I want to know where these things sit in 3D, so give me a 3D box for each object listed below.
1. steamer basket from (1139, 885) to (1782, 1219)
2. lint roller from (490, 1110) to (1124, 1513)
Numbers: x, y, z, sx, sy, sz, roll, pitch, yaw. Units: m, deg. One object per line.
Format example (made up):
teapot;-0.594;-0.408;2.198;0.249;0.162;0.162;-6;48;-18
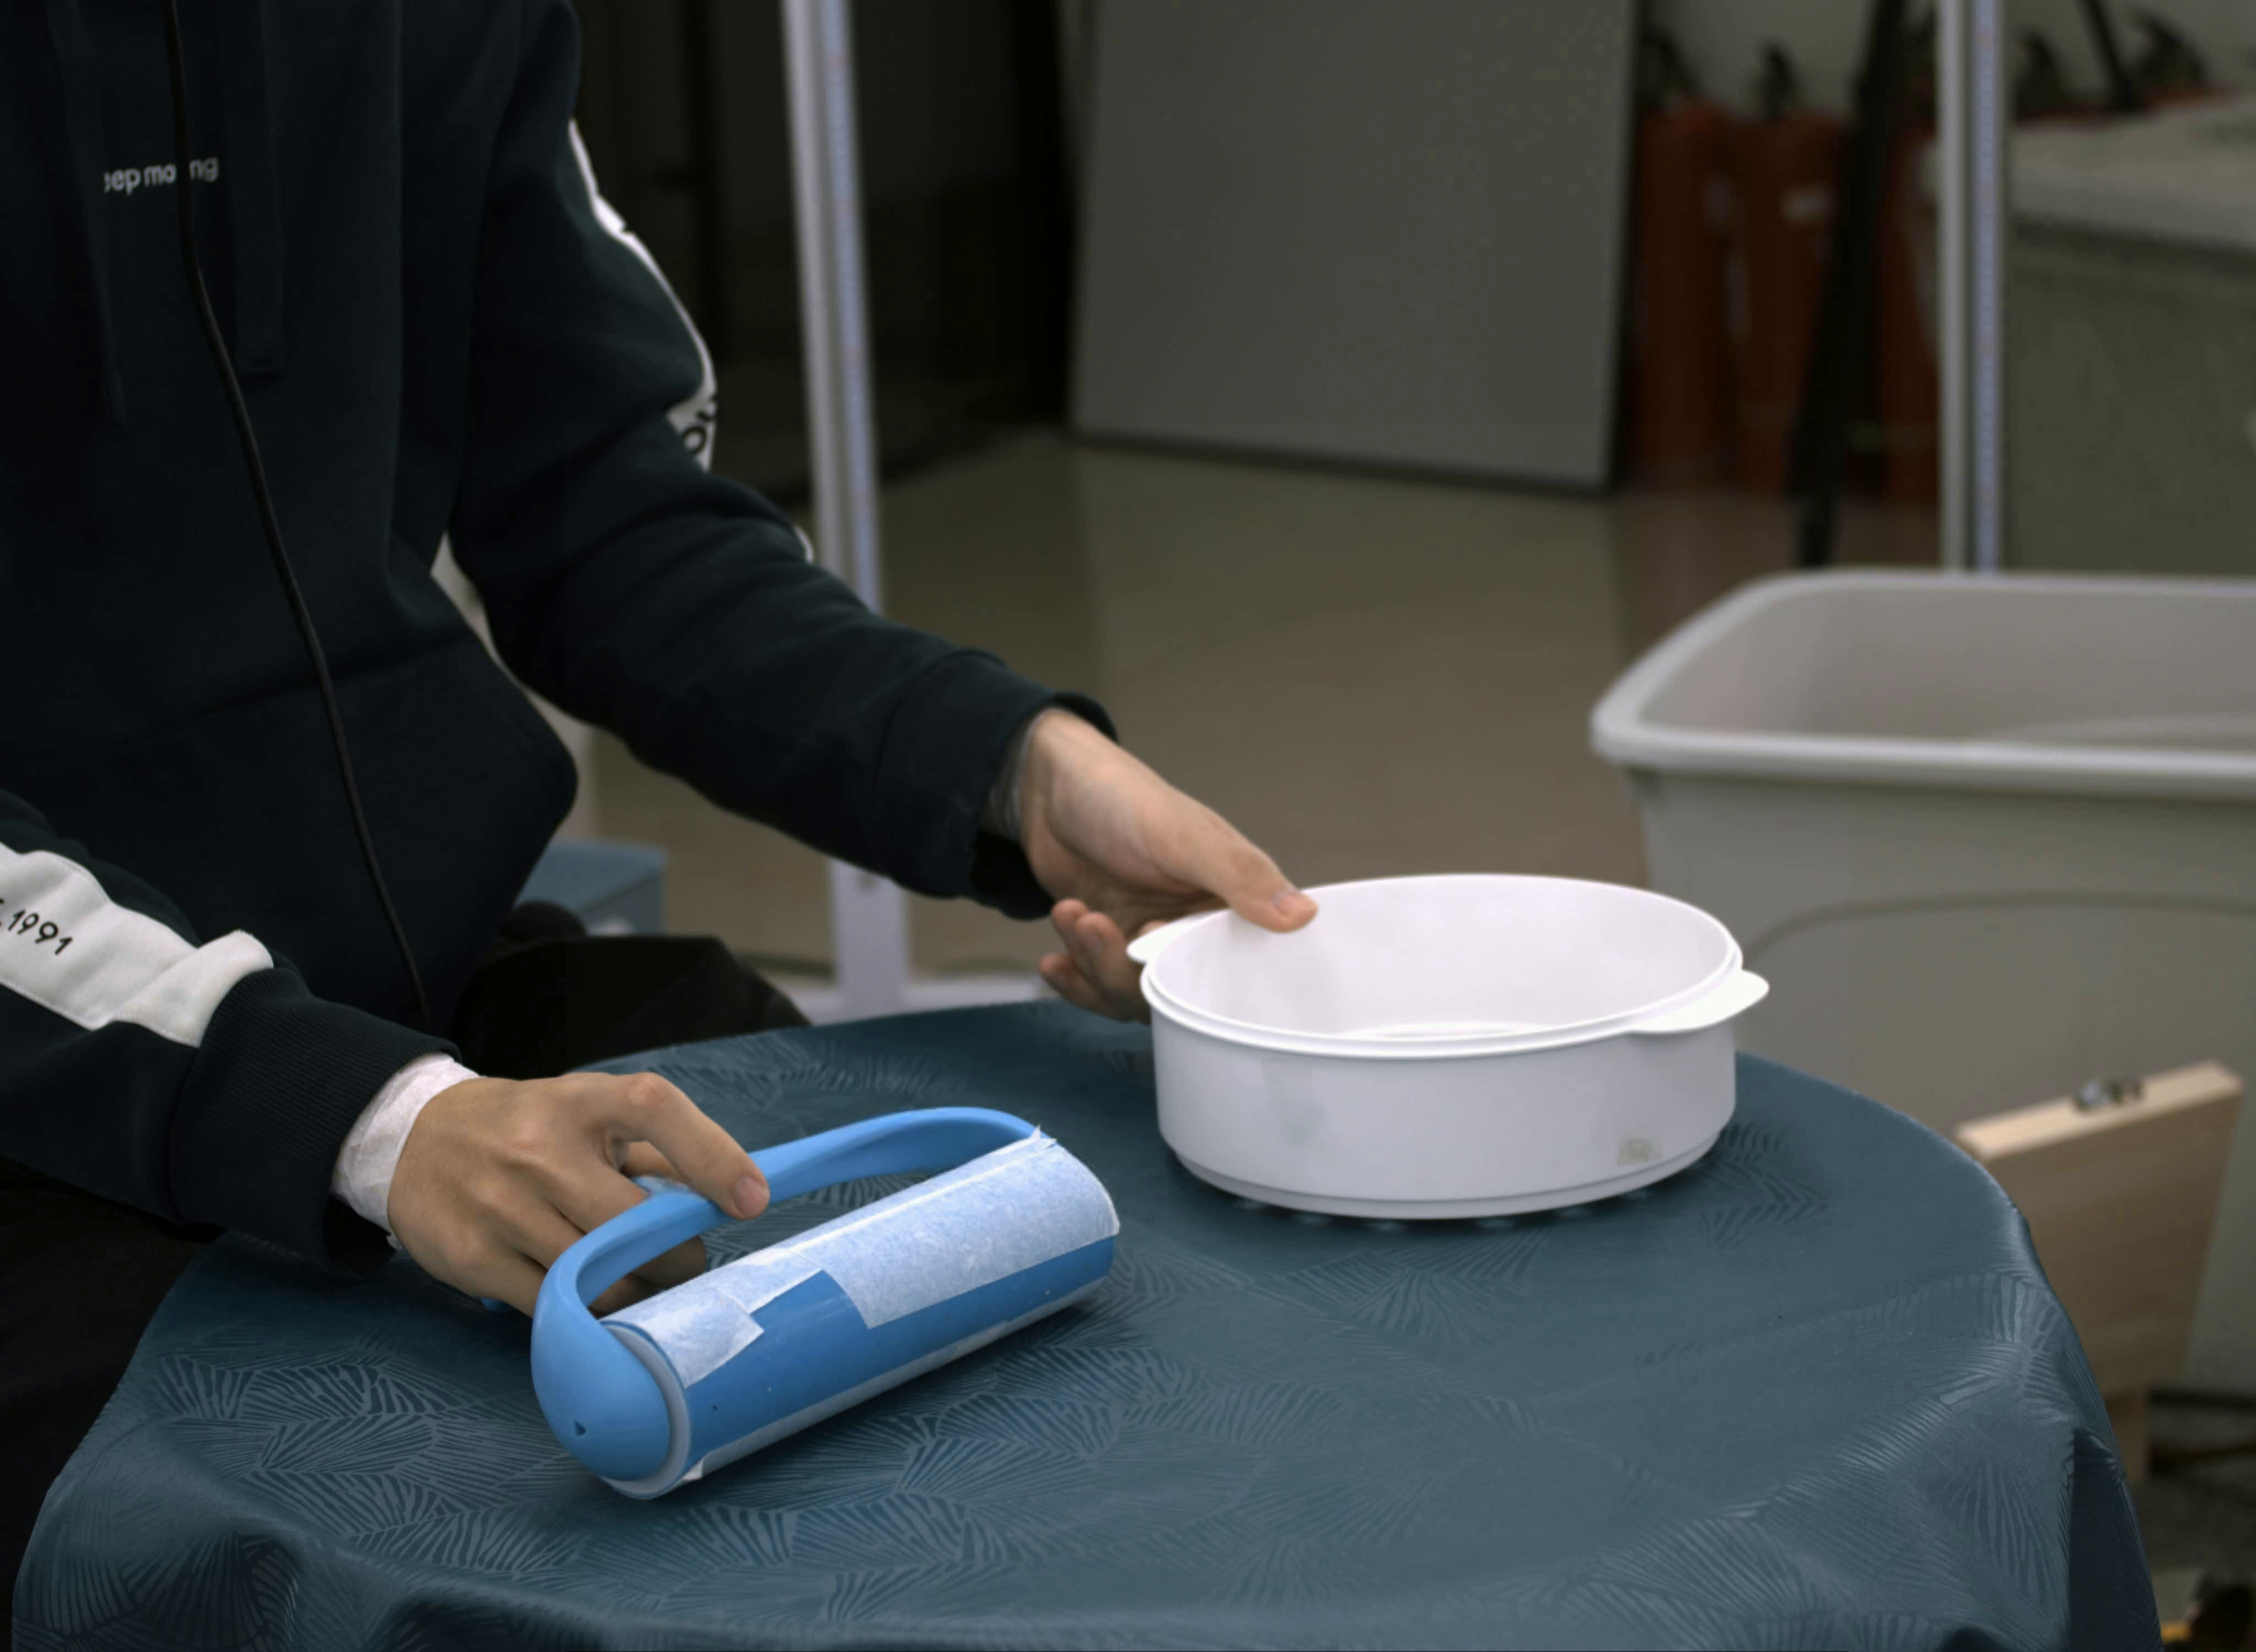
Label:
steamer basket;0.109;0.075;1.785;0.232;0.070;0.198;5;15;36
lint roller;-0.126;0.138;1.626;0.181;0.068;0.225;7;20;35
